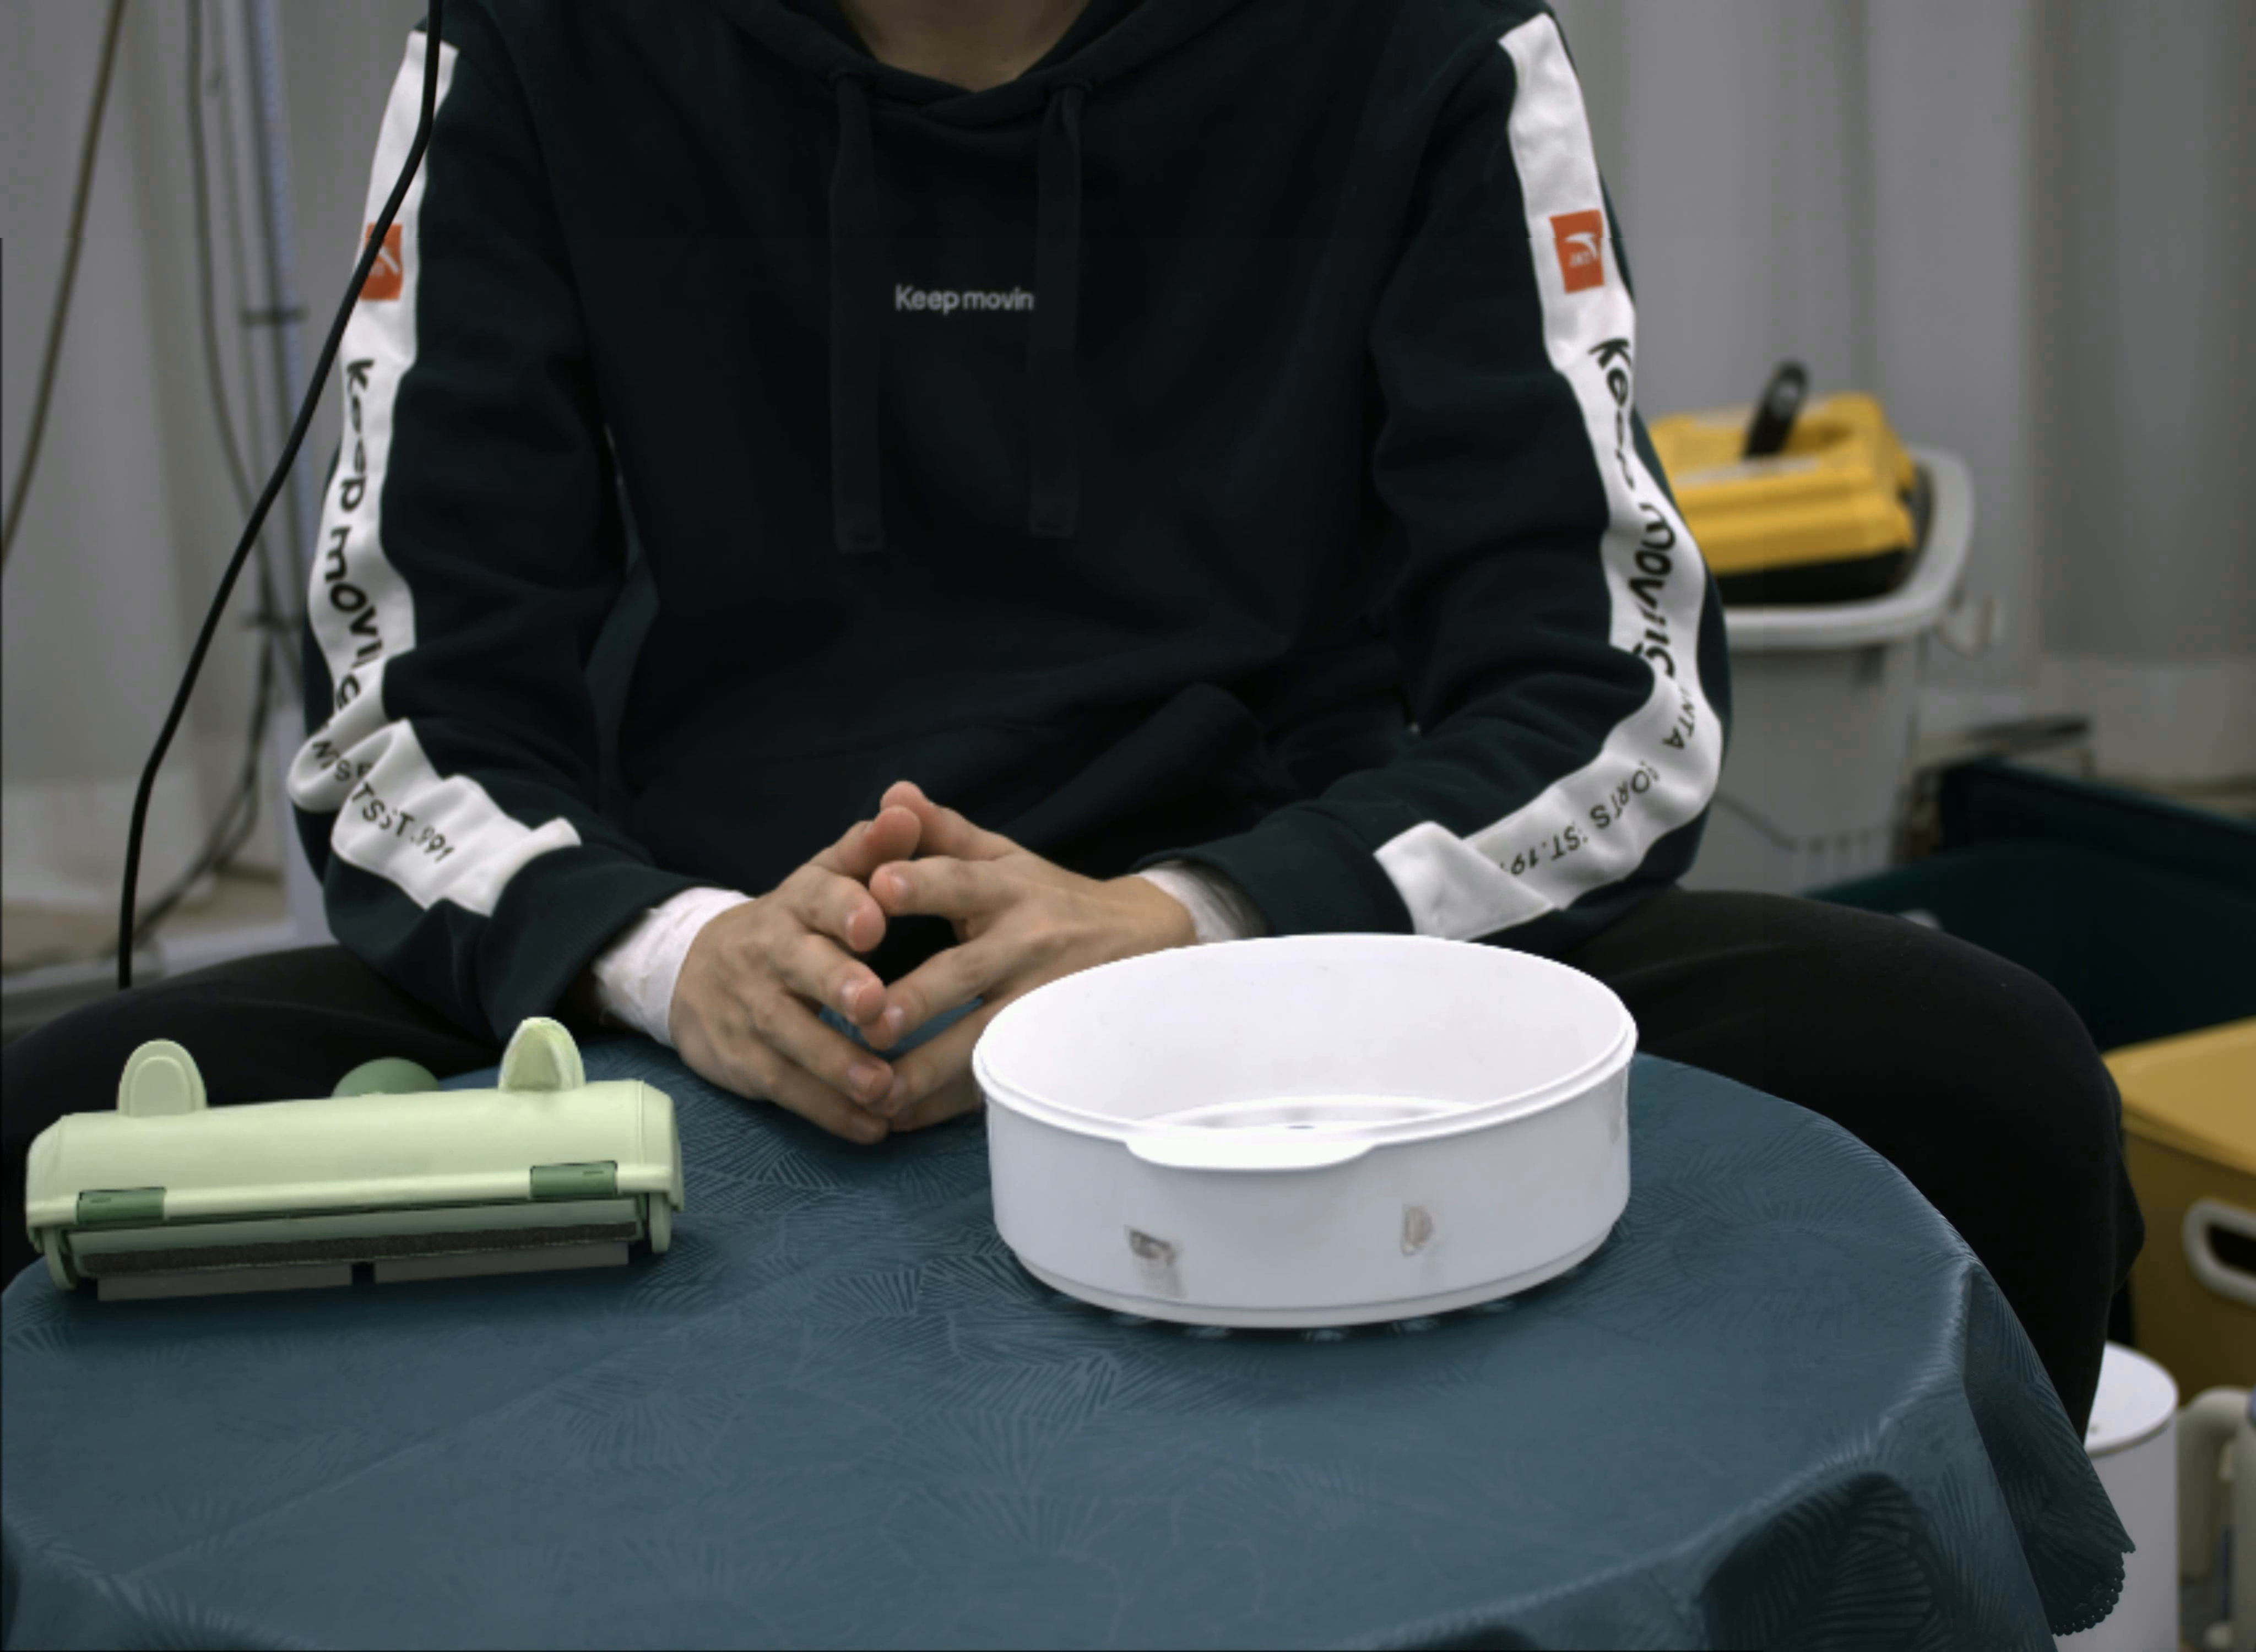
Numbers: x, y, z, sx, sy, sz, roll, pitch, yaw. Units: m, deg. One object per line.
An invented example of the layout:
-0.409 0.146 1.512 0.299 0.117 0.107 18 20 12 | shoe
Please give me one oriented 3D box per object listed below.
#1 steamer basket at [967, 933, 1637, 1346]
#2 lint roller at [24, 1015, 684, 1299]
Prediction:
0.054 0.094 1.649 0.201 0.069 0.232 -1 17 11 | steamer basket
-0.238 0.086 1.723 0.198 0.082 0.185 -4 19 -2 | lint roller
